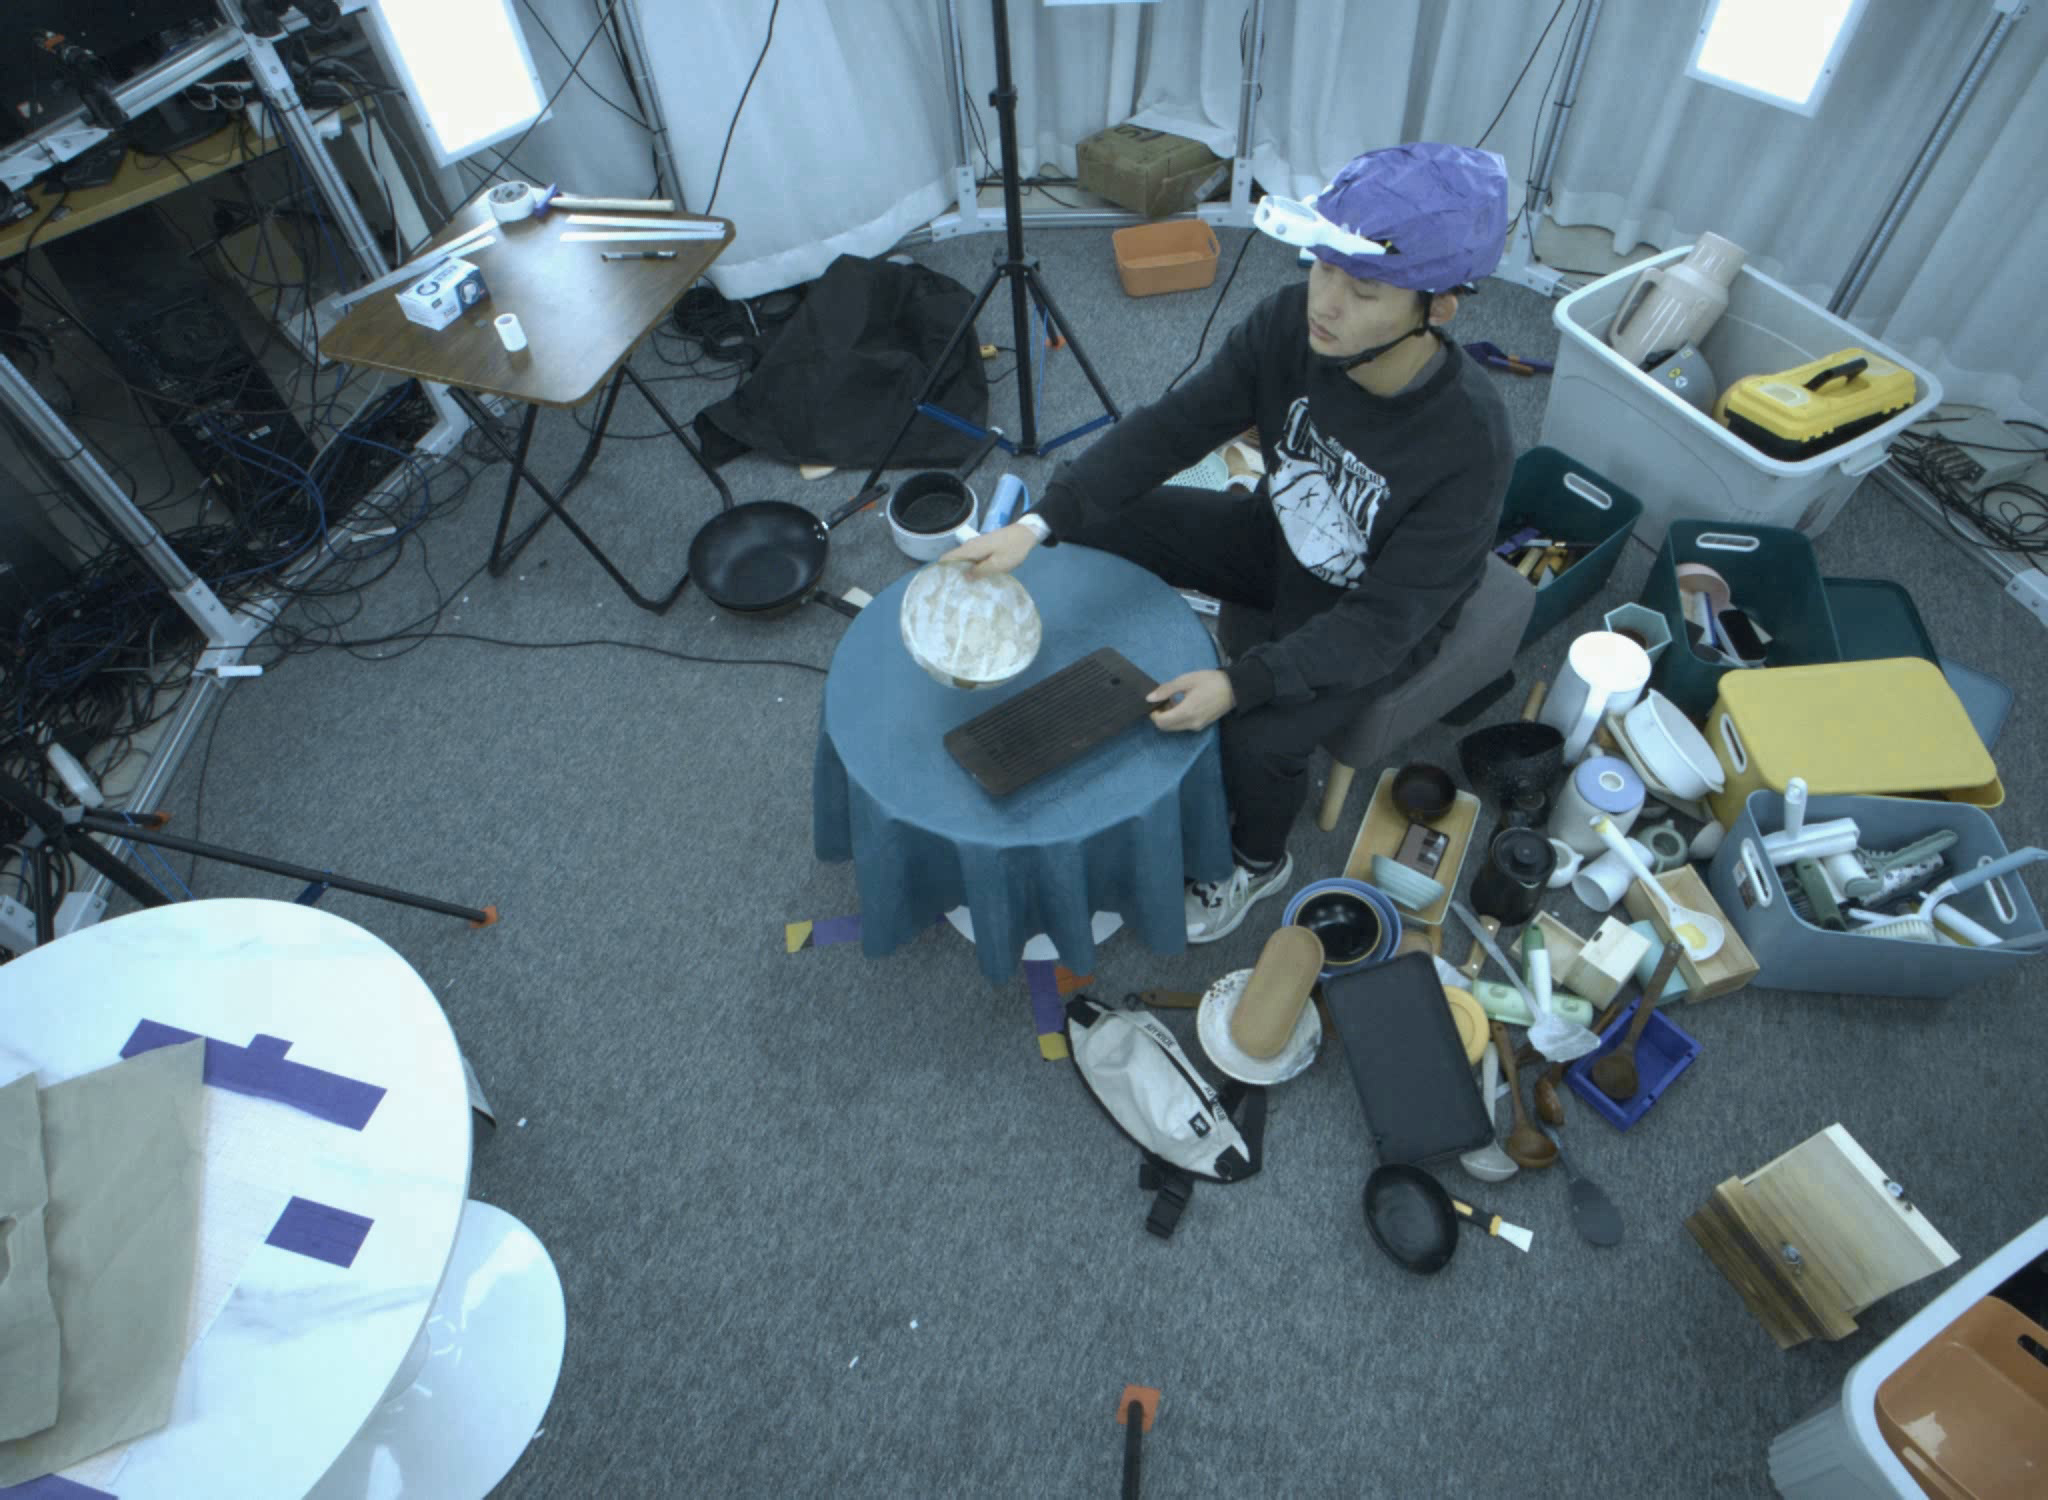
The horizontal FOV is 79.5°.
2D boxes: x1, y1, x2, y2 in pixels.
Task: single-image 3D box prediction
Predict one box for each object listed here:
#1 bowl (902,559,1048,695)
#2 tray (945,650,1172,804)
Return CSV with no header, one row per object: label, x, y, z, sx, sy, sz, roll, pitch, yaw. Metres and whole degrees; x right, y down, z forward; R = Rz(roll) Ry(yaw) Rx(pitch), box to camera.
bowl,-0.078,-0.158,1.747,0.217,0.094,0.213,10,62,-17
tray,0.050,-0.037,1.790,0.308,0.019,0.166,-30,46,-18
